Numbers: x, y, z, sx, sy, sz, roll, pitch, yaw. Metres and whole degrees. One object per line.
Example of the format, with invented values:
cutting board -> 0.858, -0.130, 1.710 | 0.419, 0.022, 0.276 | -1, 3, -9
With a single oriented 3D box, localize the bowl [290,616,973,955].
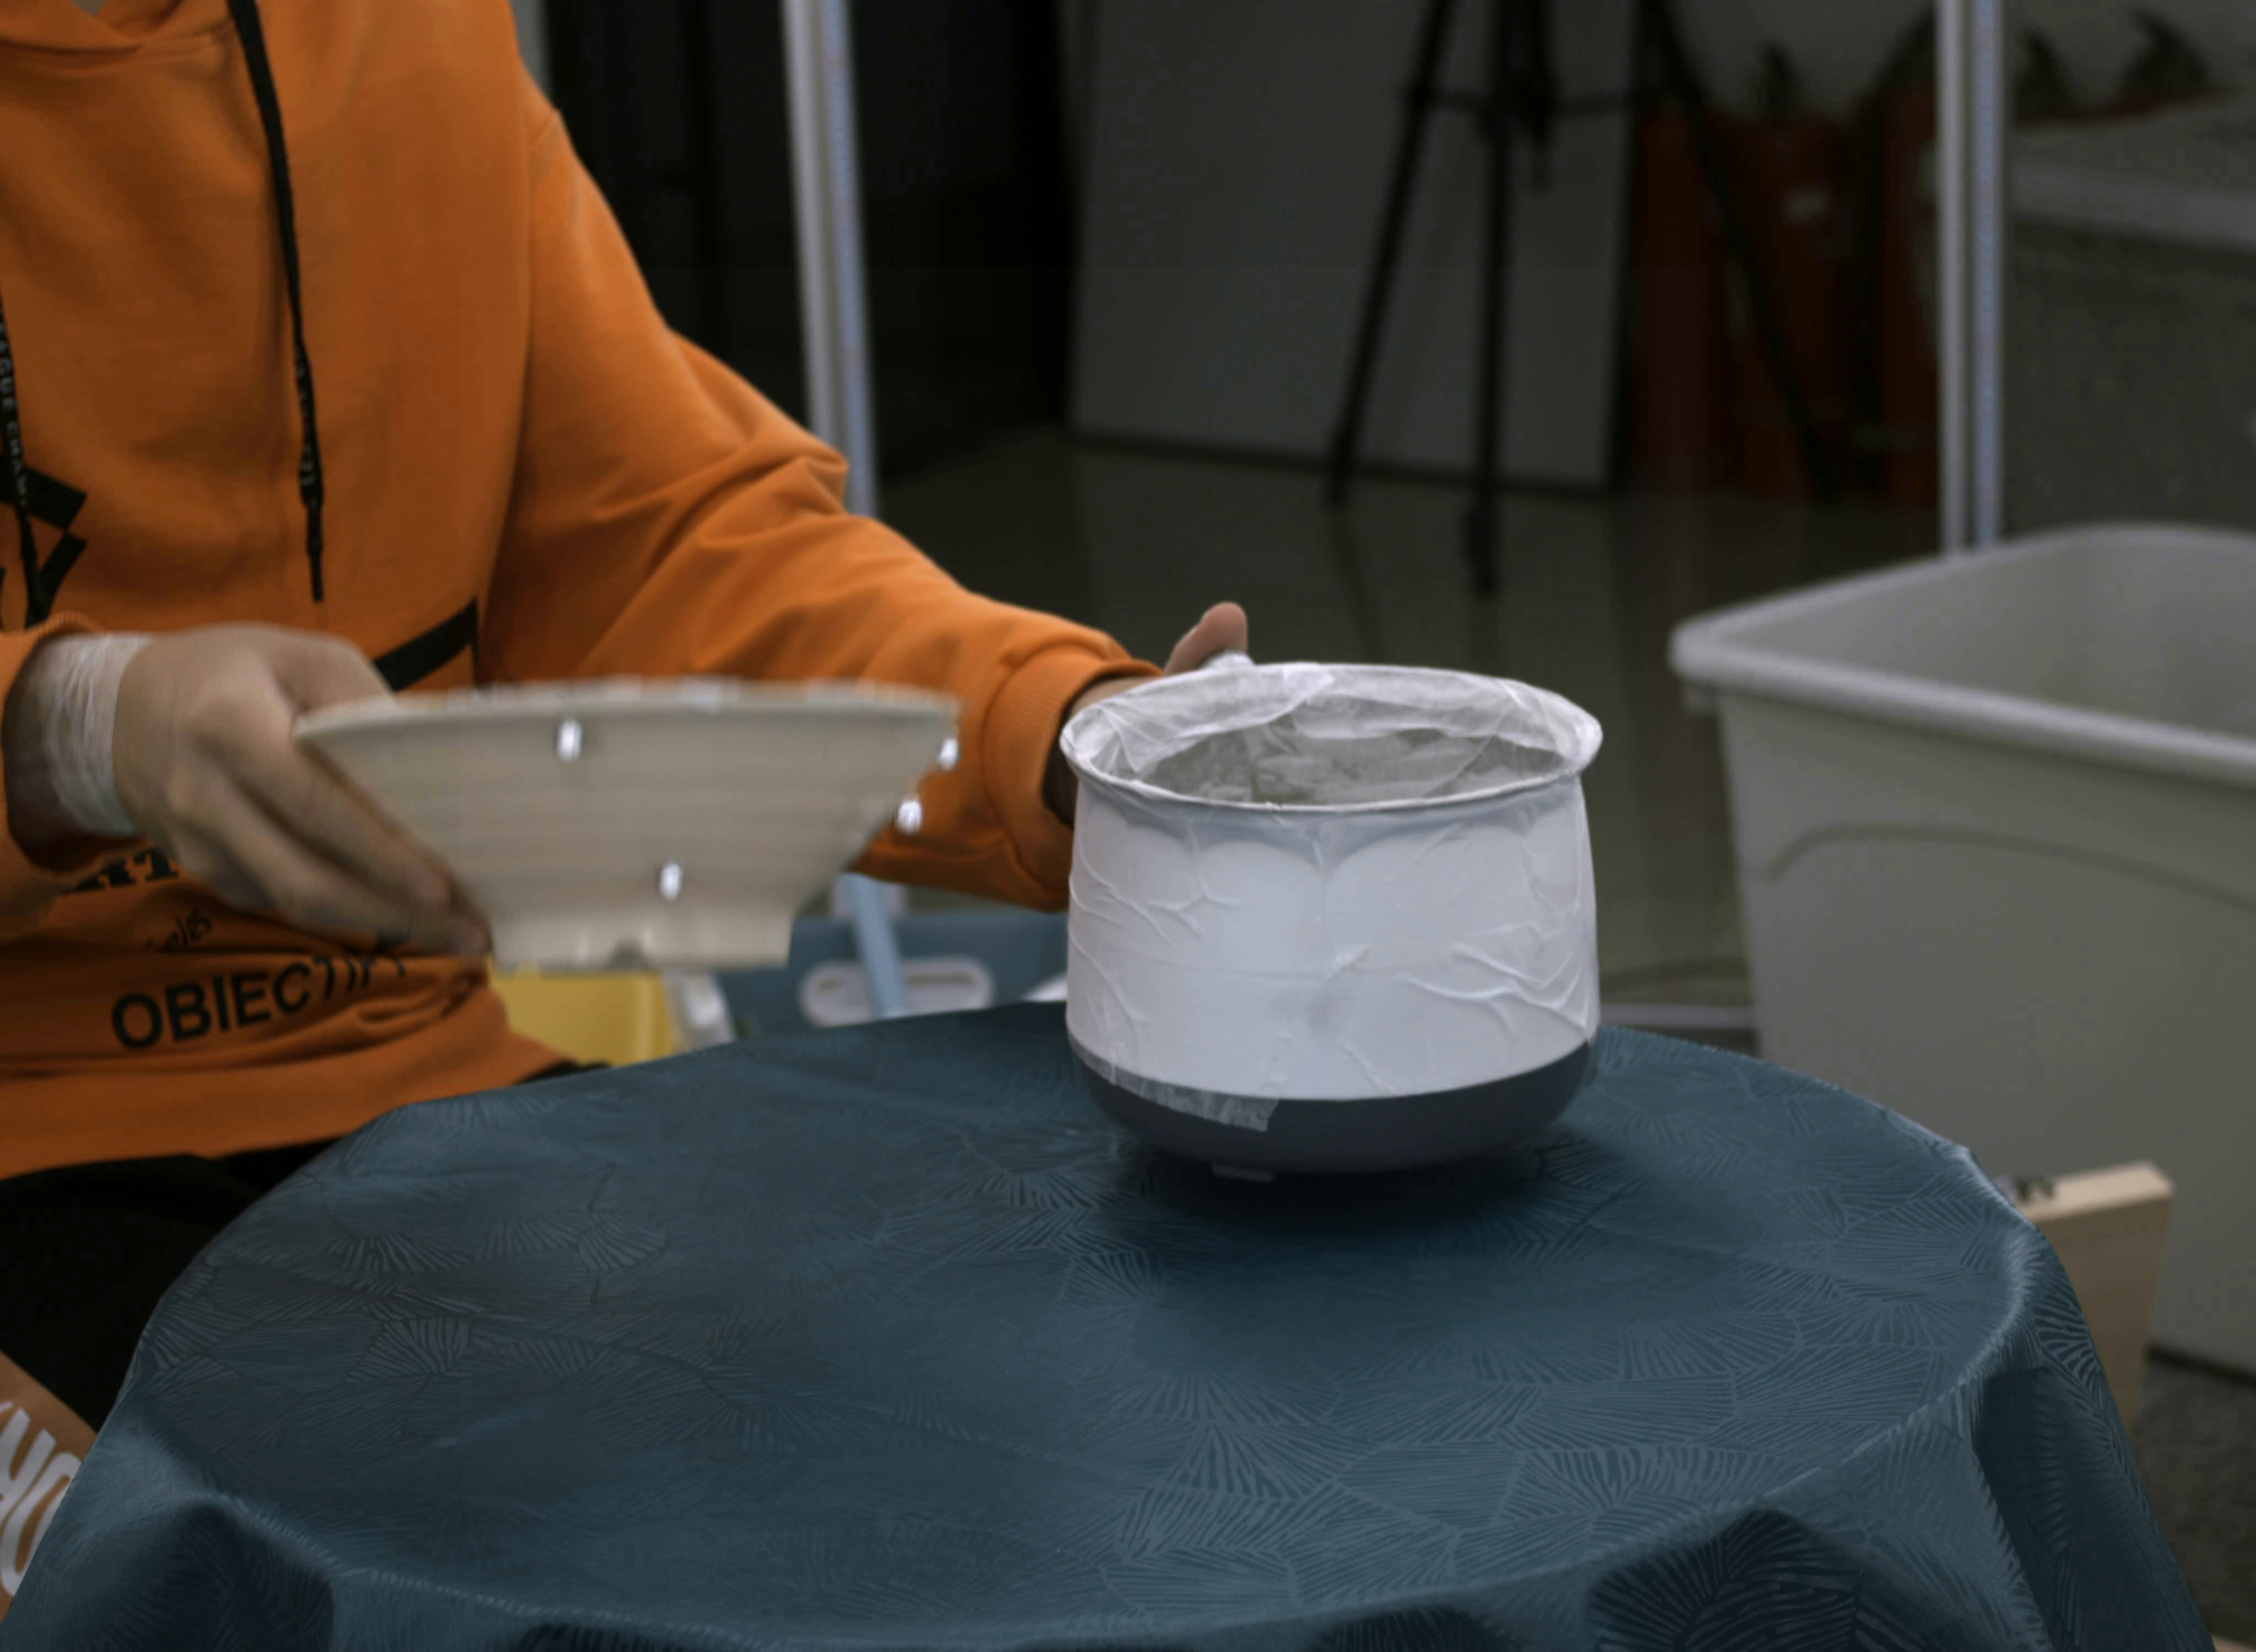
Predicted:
bowl -> -0.143, -0.006, 1.595 | 0.201, 0.079, 0.204 | -4, -8, -1

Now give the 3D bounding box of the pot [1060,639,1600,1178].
pot -> 0.057, 0.021, 1.783 | 0.175, 0.138, 0.236 | -6, 16, -18
